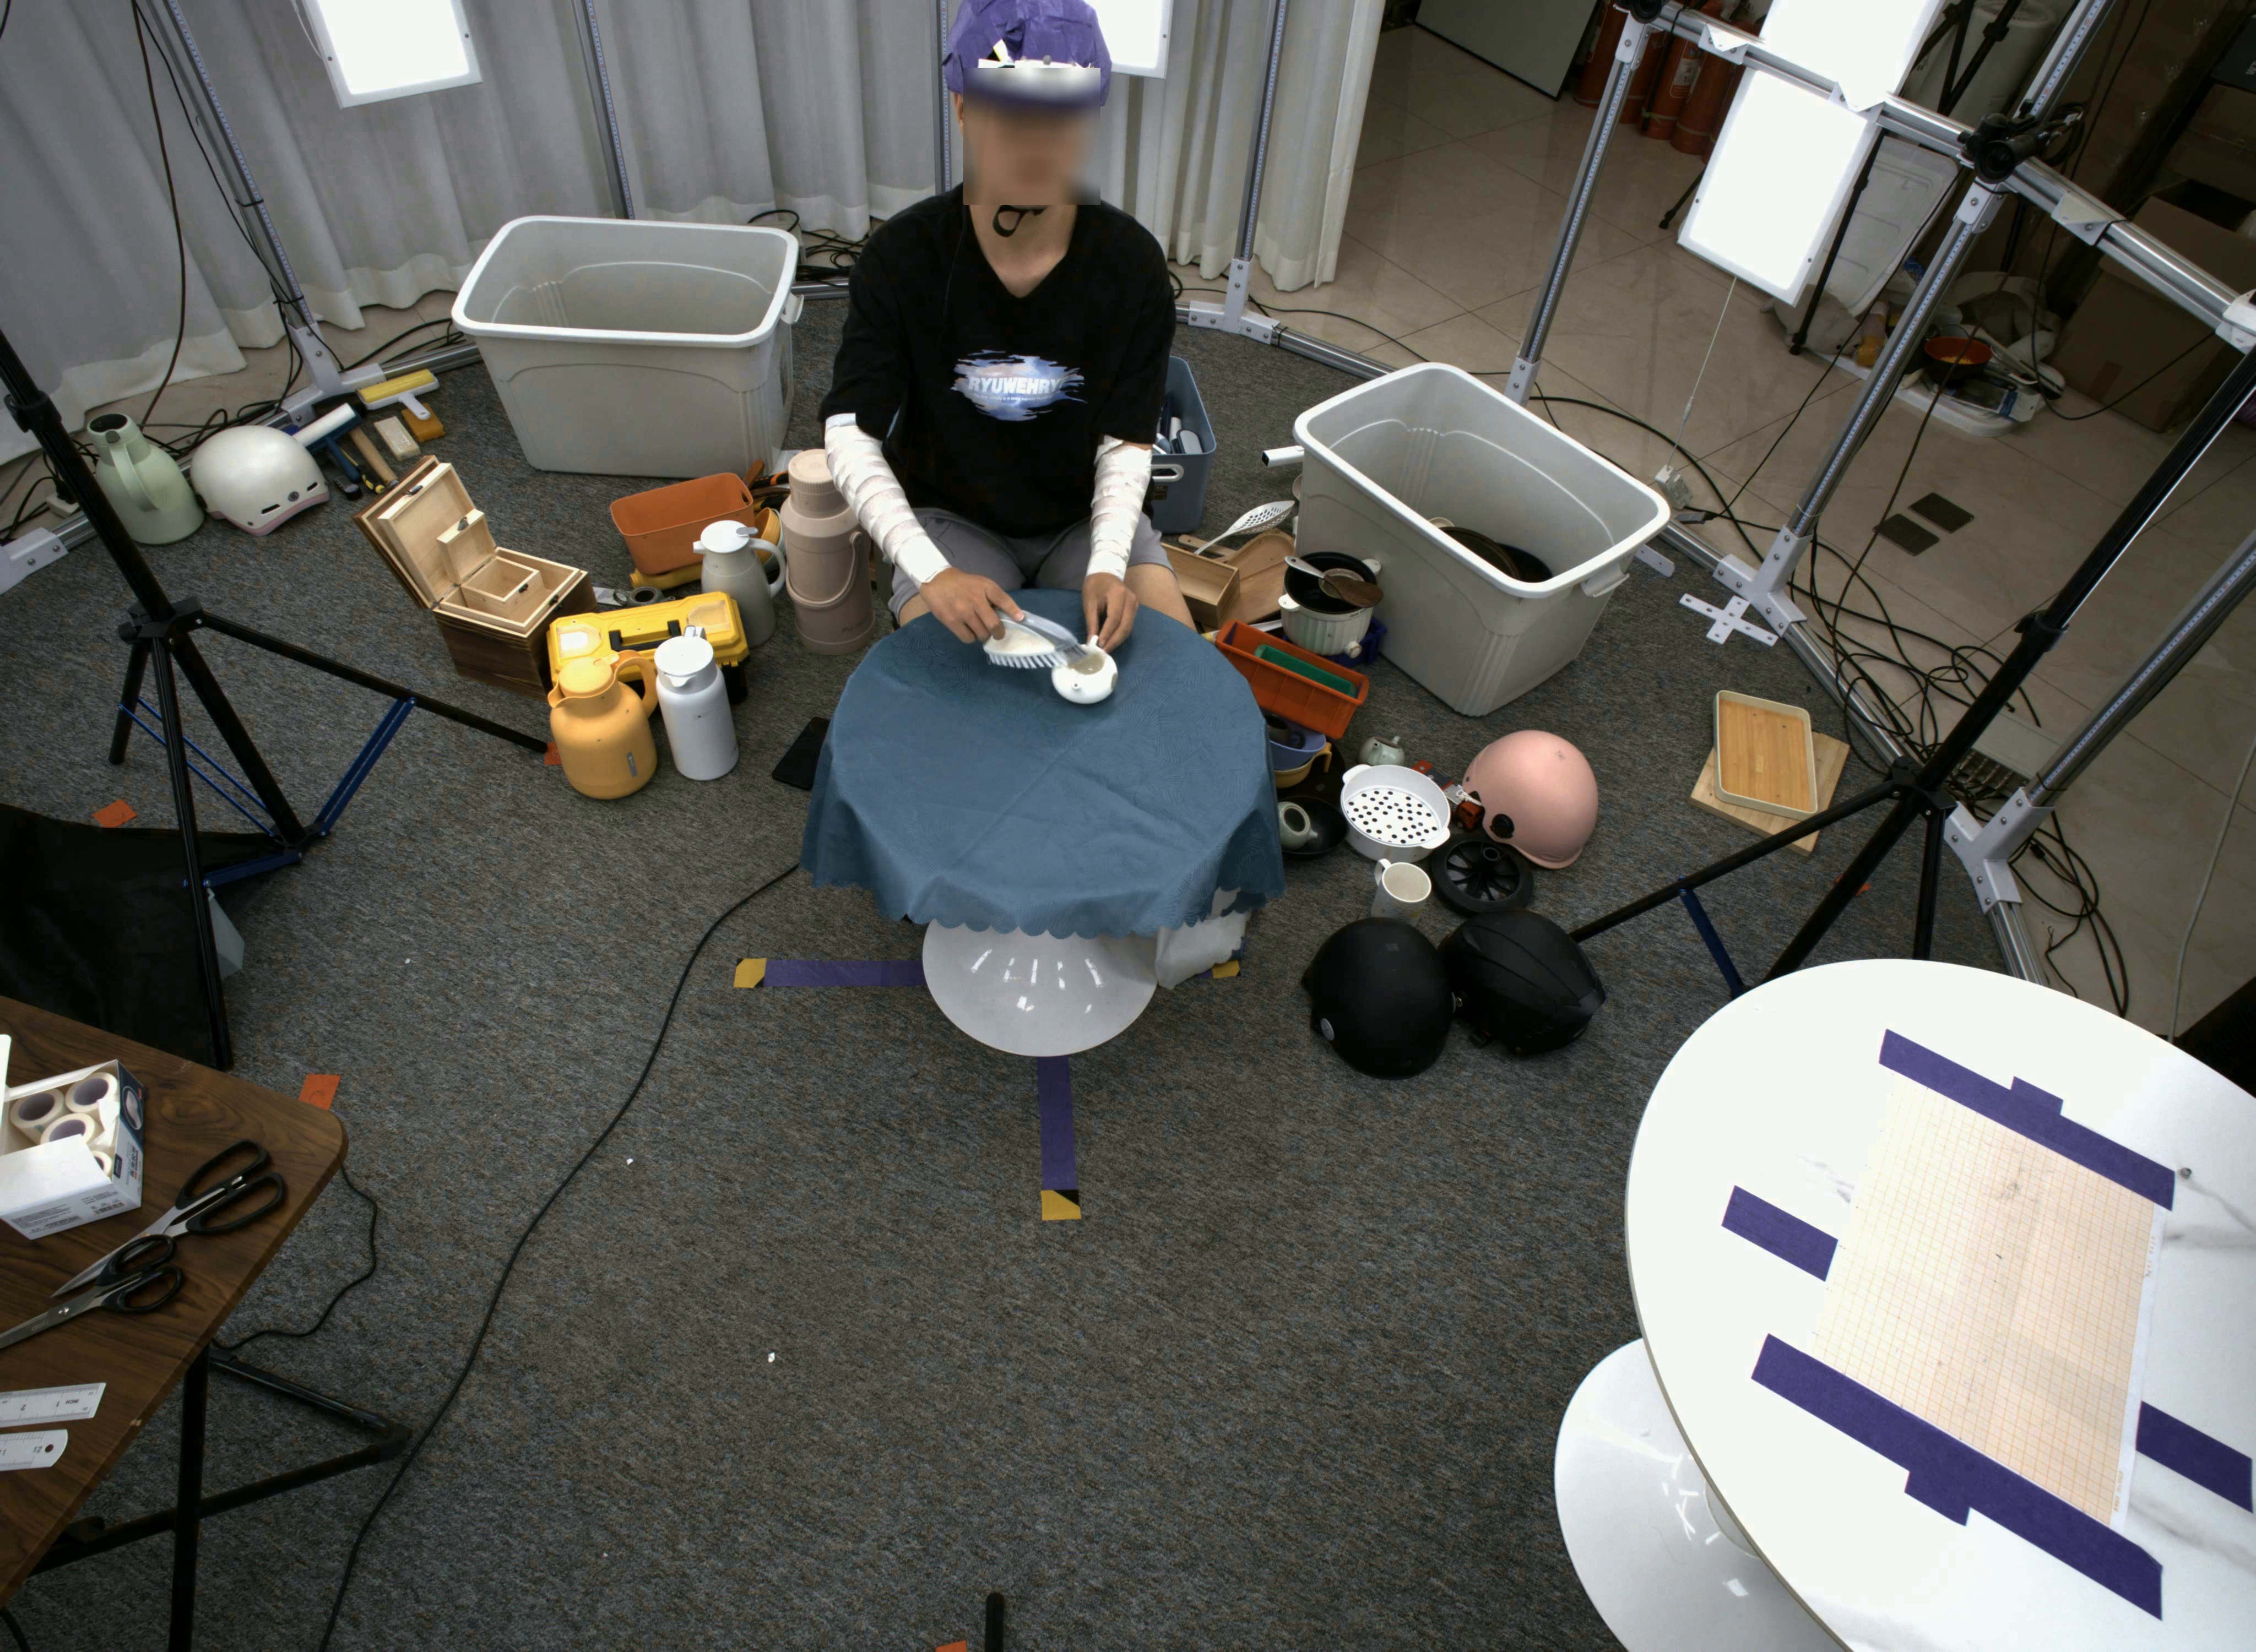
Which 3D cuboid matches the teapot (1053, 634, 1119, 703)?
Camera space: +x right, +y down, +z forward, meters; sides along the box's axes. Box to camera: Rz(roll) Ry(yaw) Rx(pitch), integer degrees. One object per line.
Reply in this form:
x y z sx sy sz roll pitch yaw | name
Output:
-0.057 -0.225 1.828 0.093 0.055 0.130 7 48 8 | teapot

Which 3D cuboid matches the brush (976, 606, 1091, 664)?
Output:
-0.138 -0.272 1.792 0.177 0.092 0.062 12 68 38 | brush
